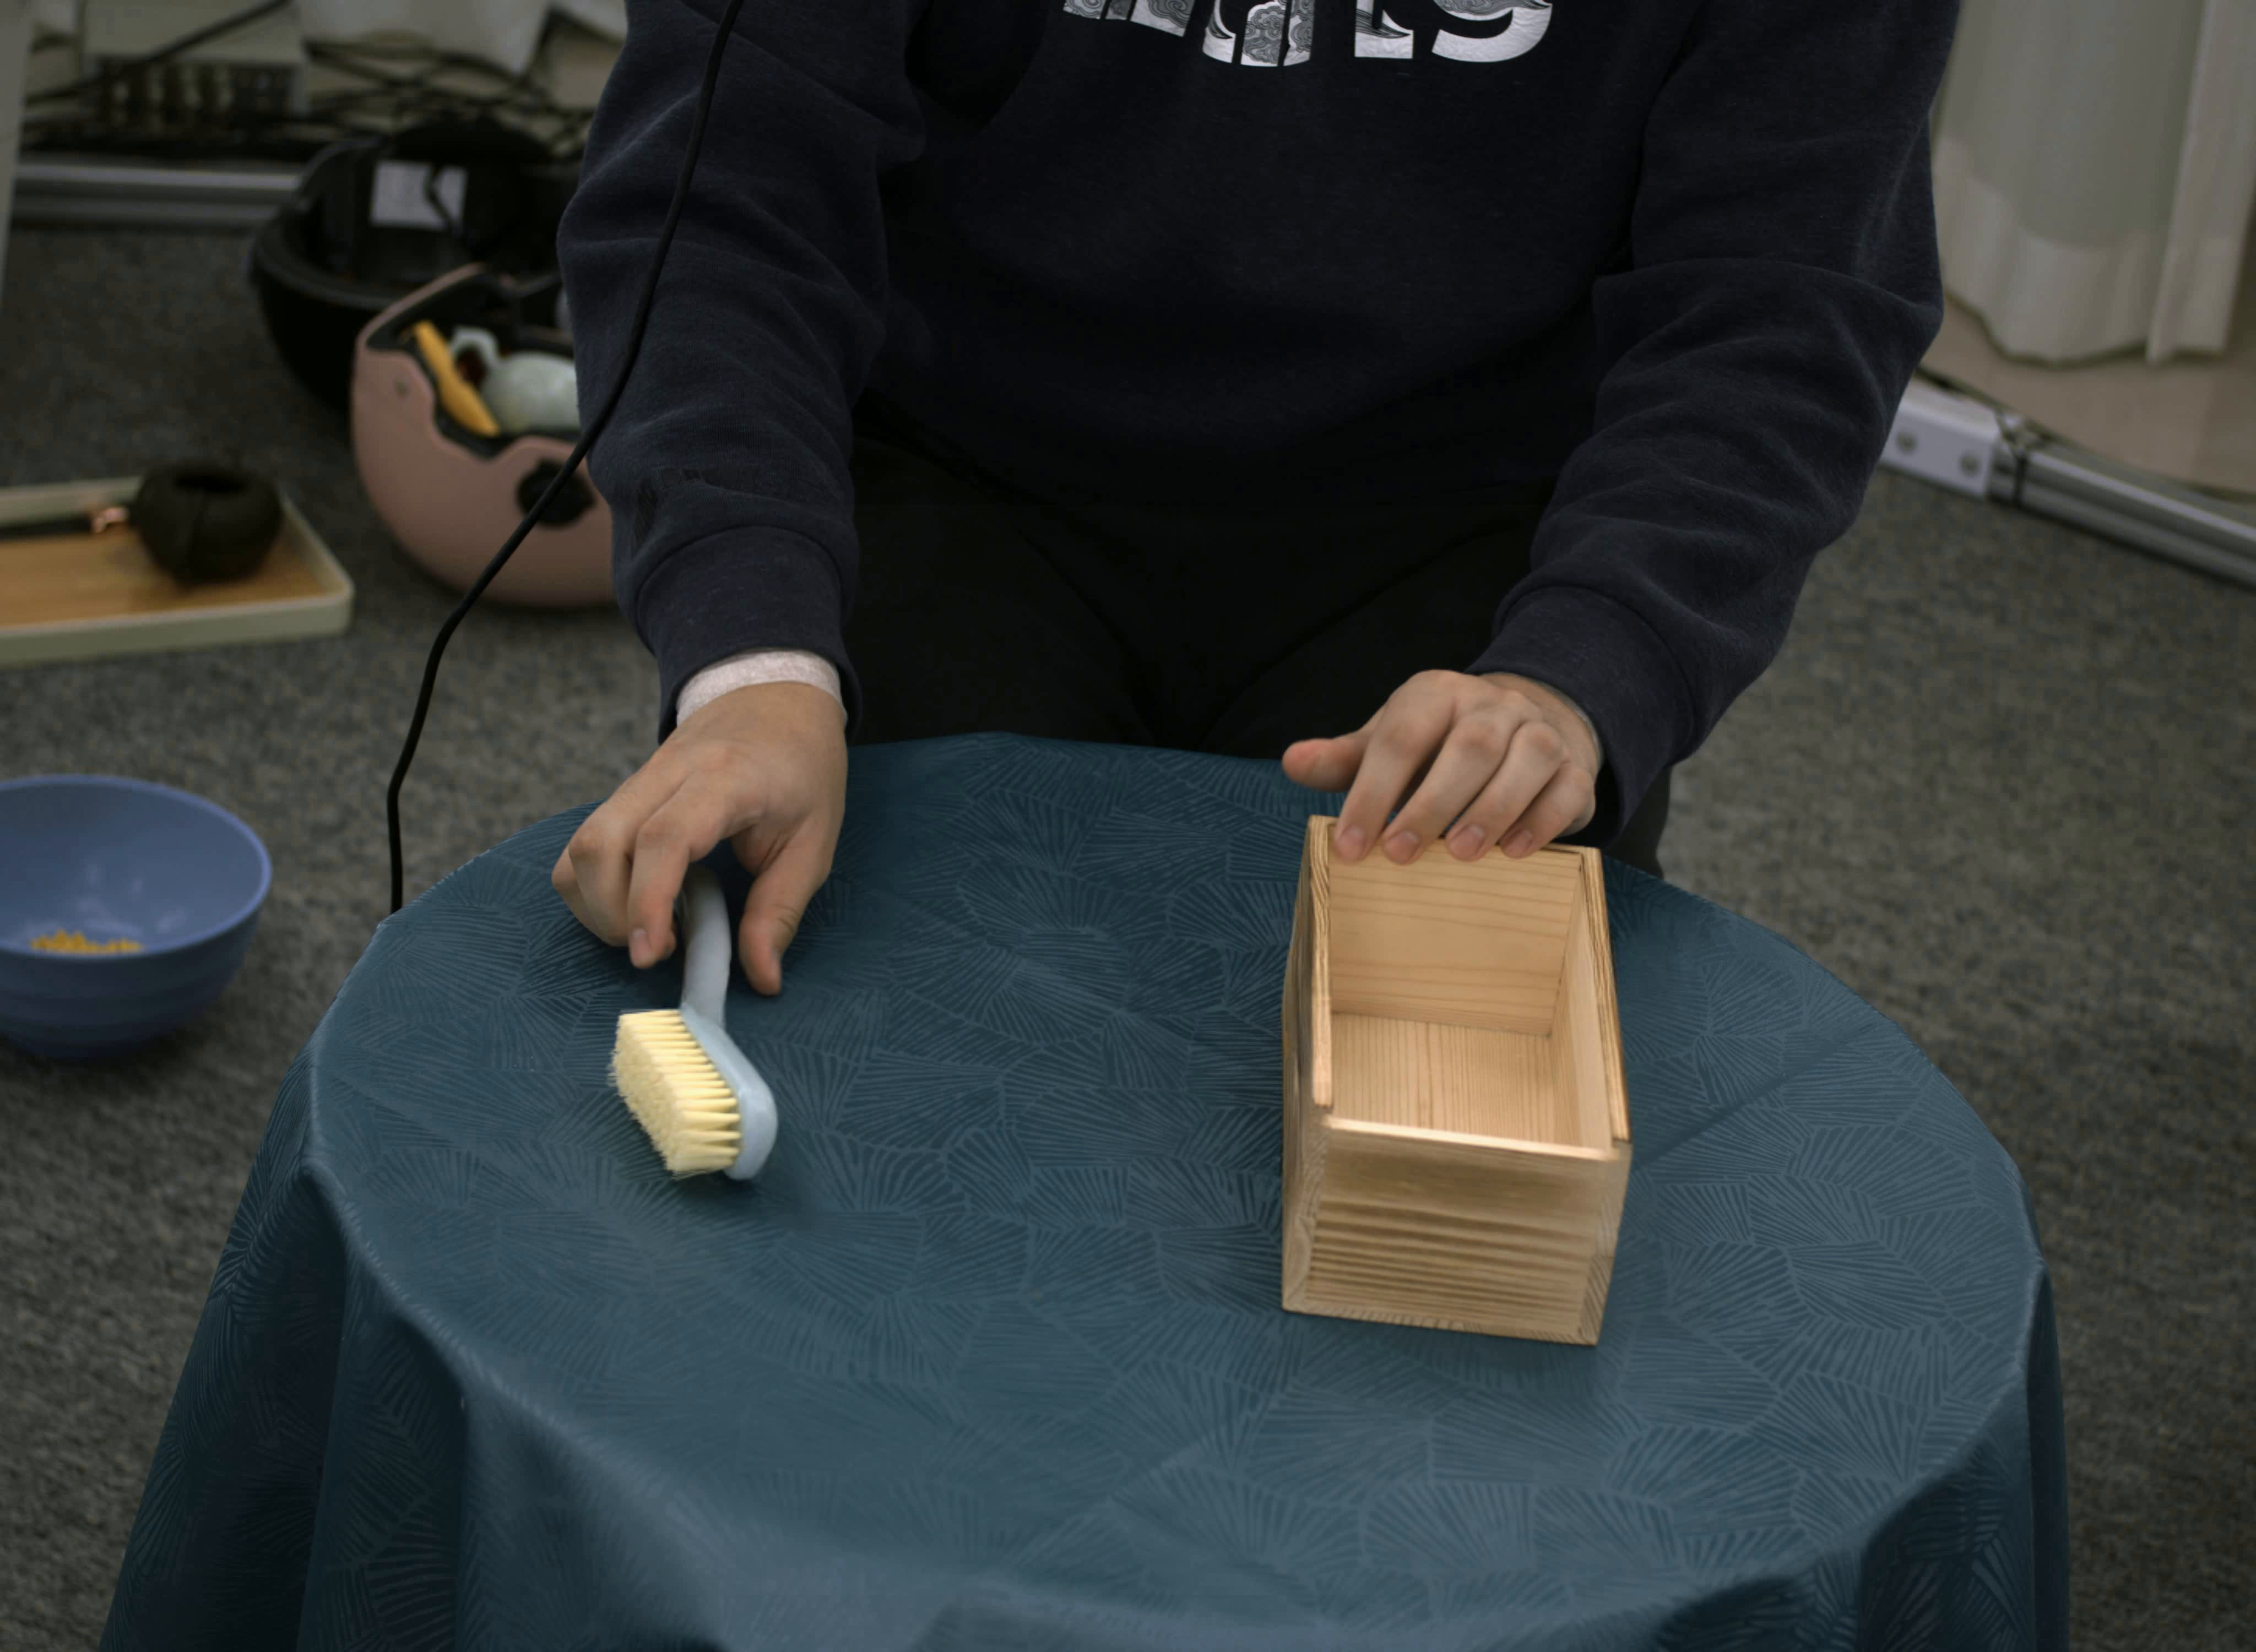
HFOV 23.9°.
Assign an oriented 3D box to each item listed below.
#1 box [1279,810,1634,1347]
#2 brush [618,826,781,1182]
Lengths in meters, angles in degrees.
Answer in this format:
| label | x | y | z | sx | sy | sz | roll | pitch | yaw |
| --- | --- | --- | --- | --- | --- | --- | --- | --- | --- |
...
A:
| label | x | y | z | sx | sy | sz | roll | pitch | yaw |
| --- | --- | --- | --- | --- | --- | --- | --- | --- | --- |
| box | 0.110 | 0.083 | 1.824 | 0.107 | 0.080 | 0.212 | 7 | 27 | -2 |
| brush | -0.158 | 0.057 | 1.859 | 0.049 | 0.037 | 0.230 | 0 | 27 | -11 |
